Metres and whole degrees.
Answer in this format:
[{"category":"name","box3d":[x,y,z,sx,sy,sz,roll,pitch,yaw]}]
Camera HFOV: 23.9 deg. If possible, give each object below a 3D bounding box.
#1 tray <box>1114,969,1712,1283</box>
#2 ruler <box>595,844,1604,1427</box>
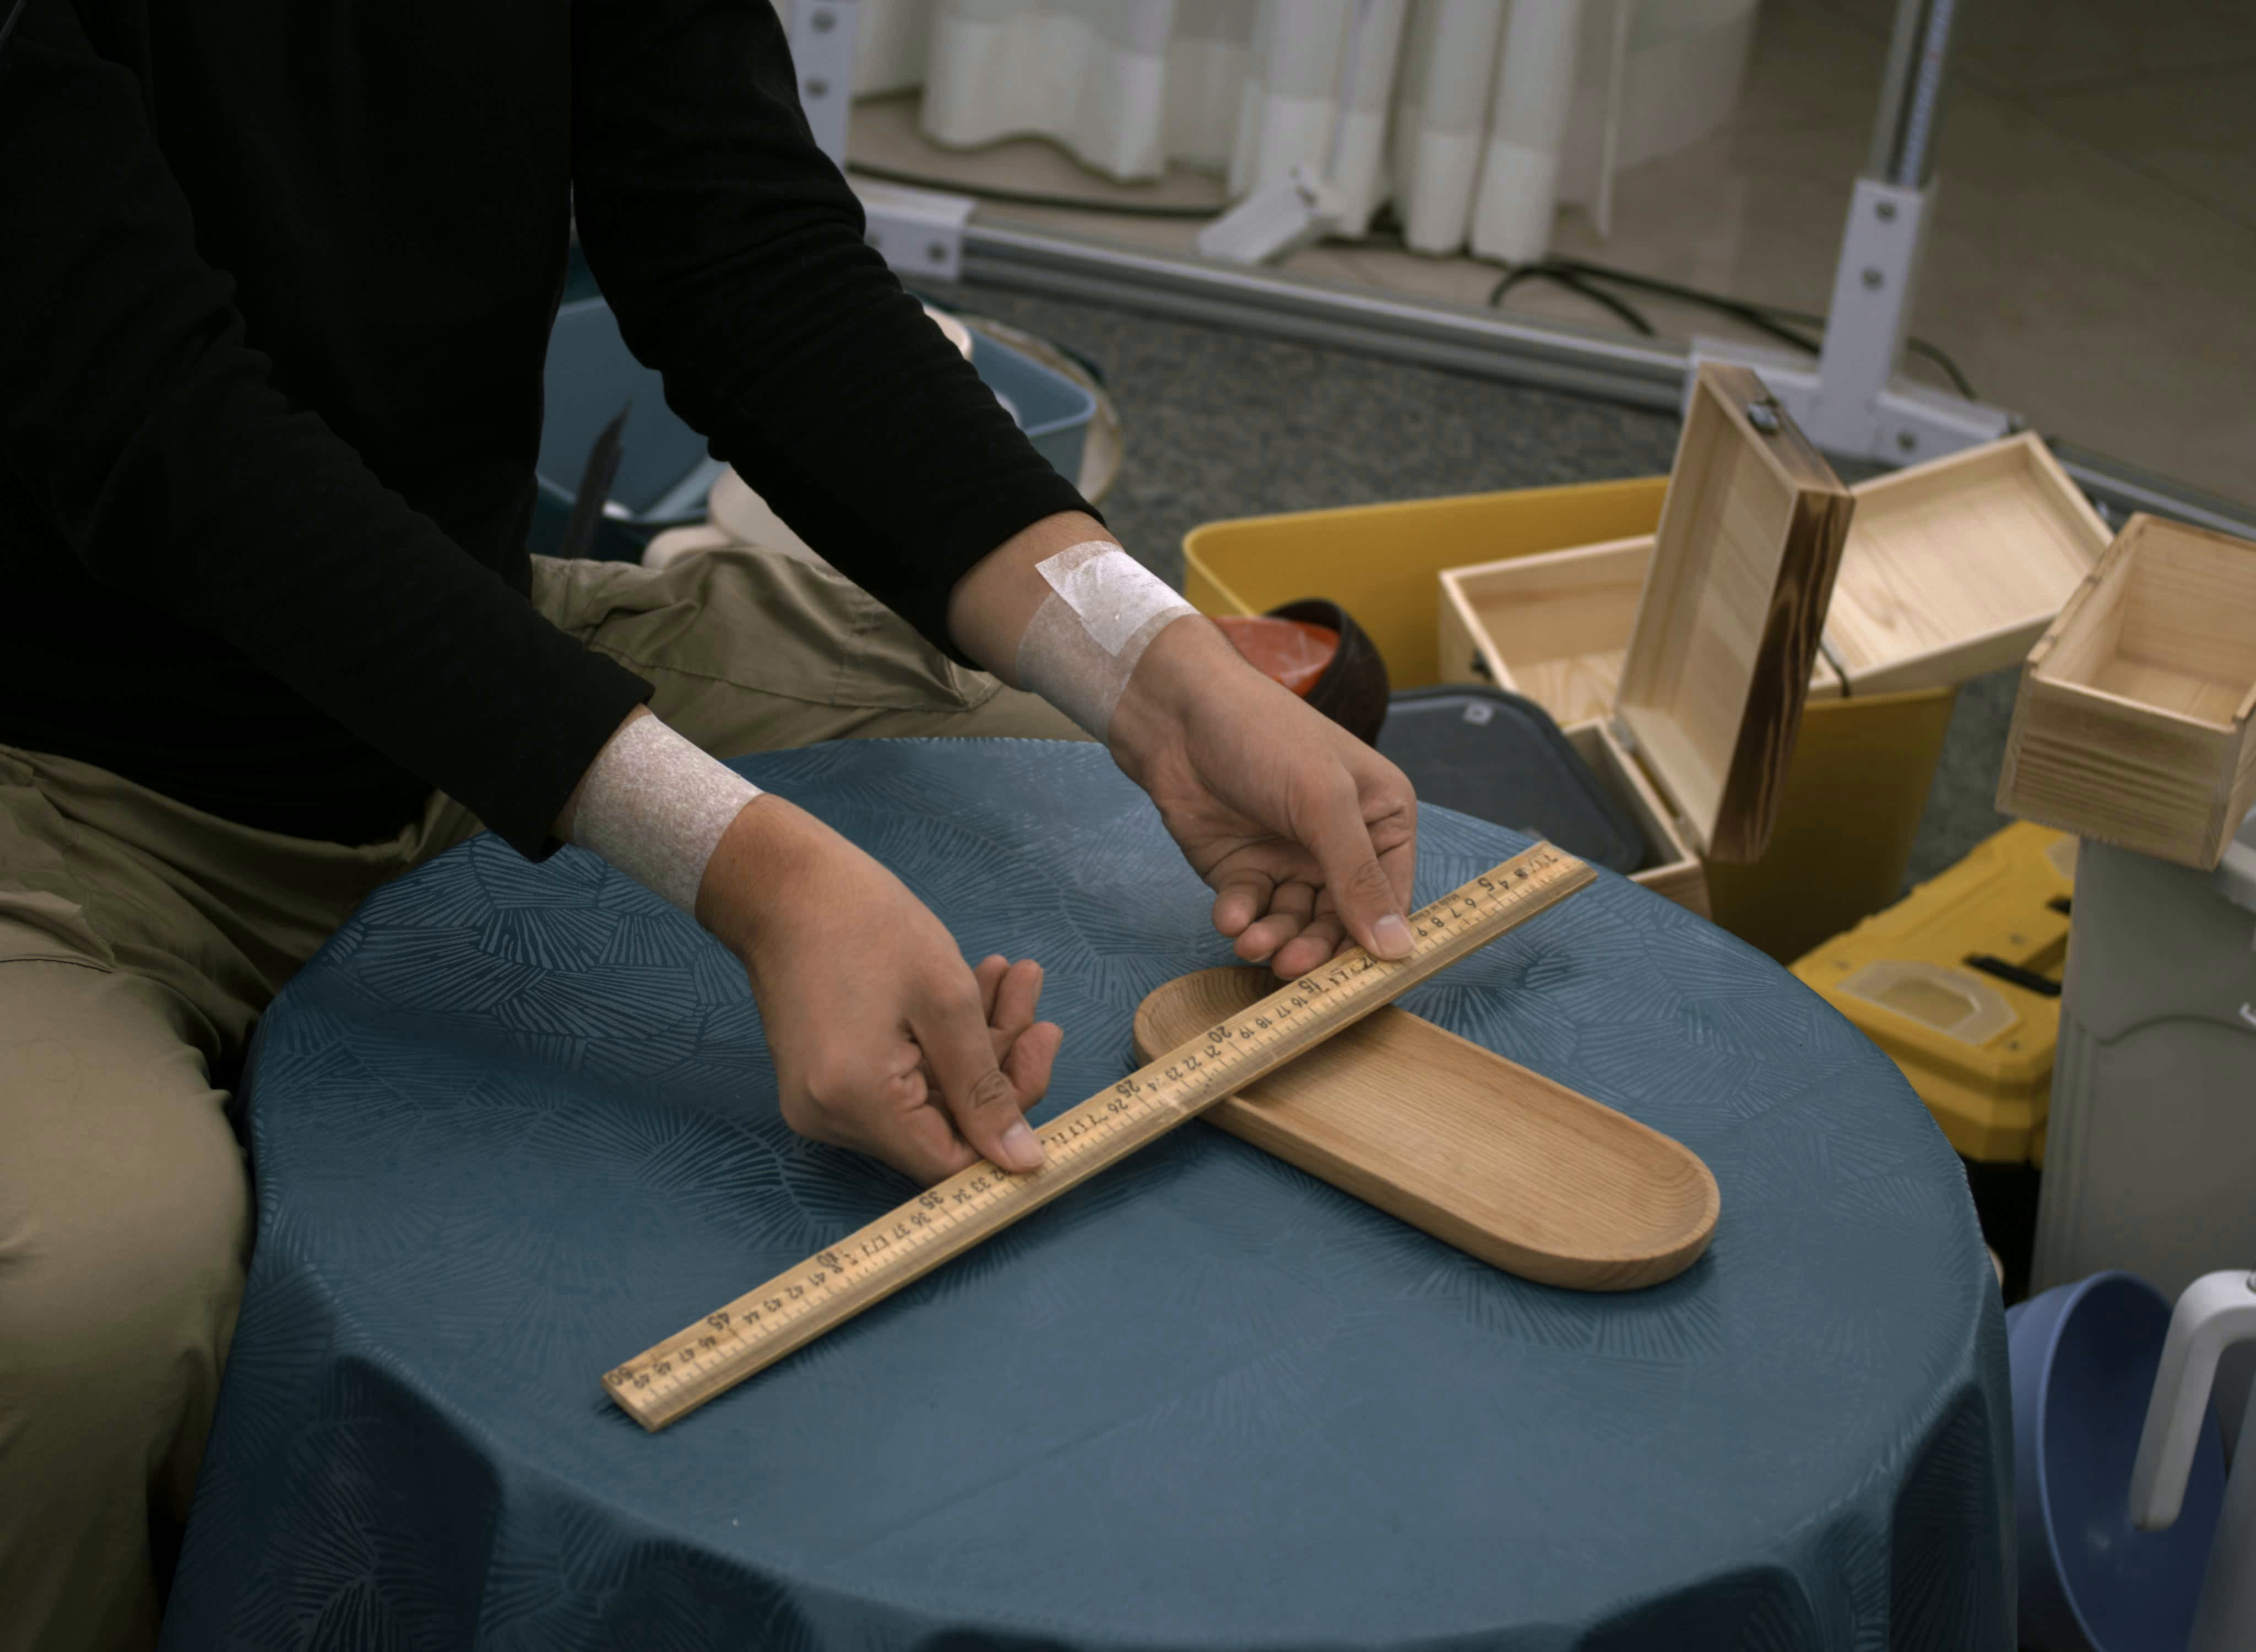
[{"category":"tray","box3d":[0.097,0.103,1.846,0.232,0.020,0.101,22,29,32]},{"category":"ruler","box3d":[0.005,0.096,1.817,0.027,0.006,0.498,38,42,25]}]
